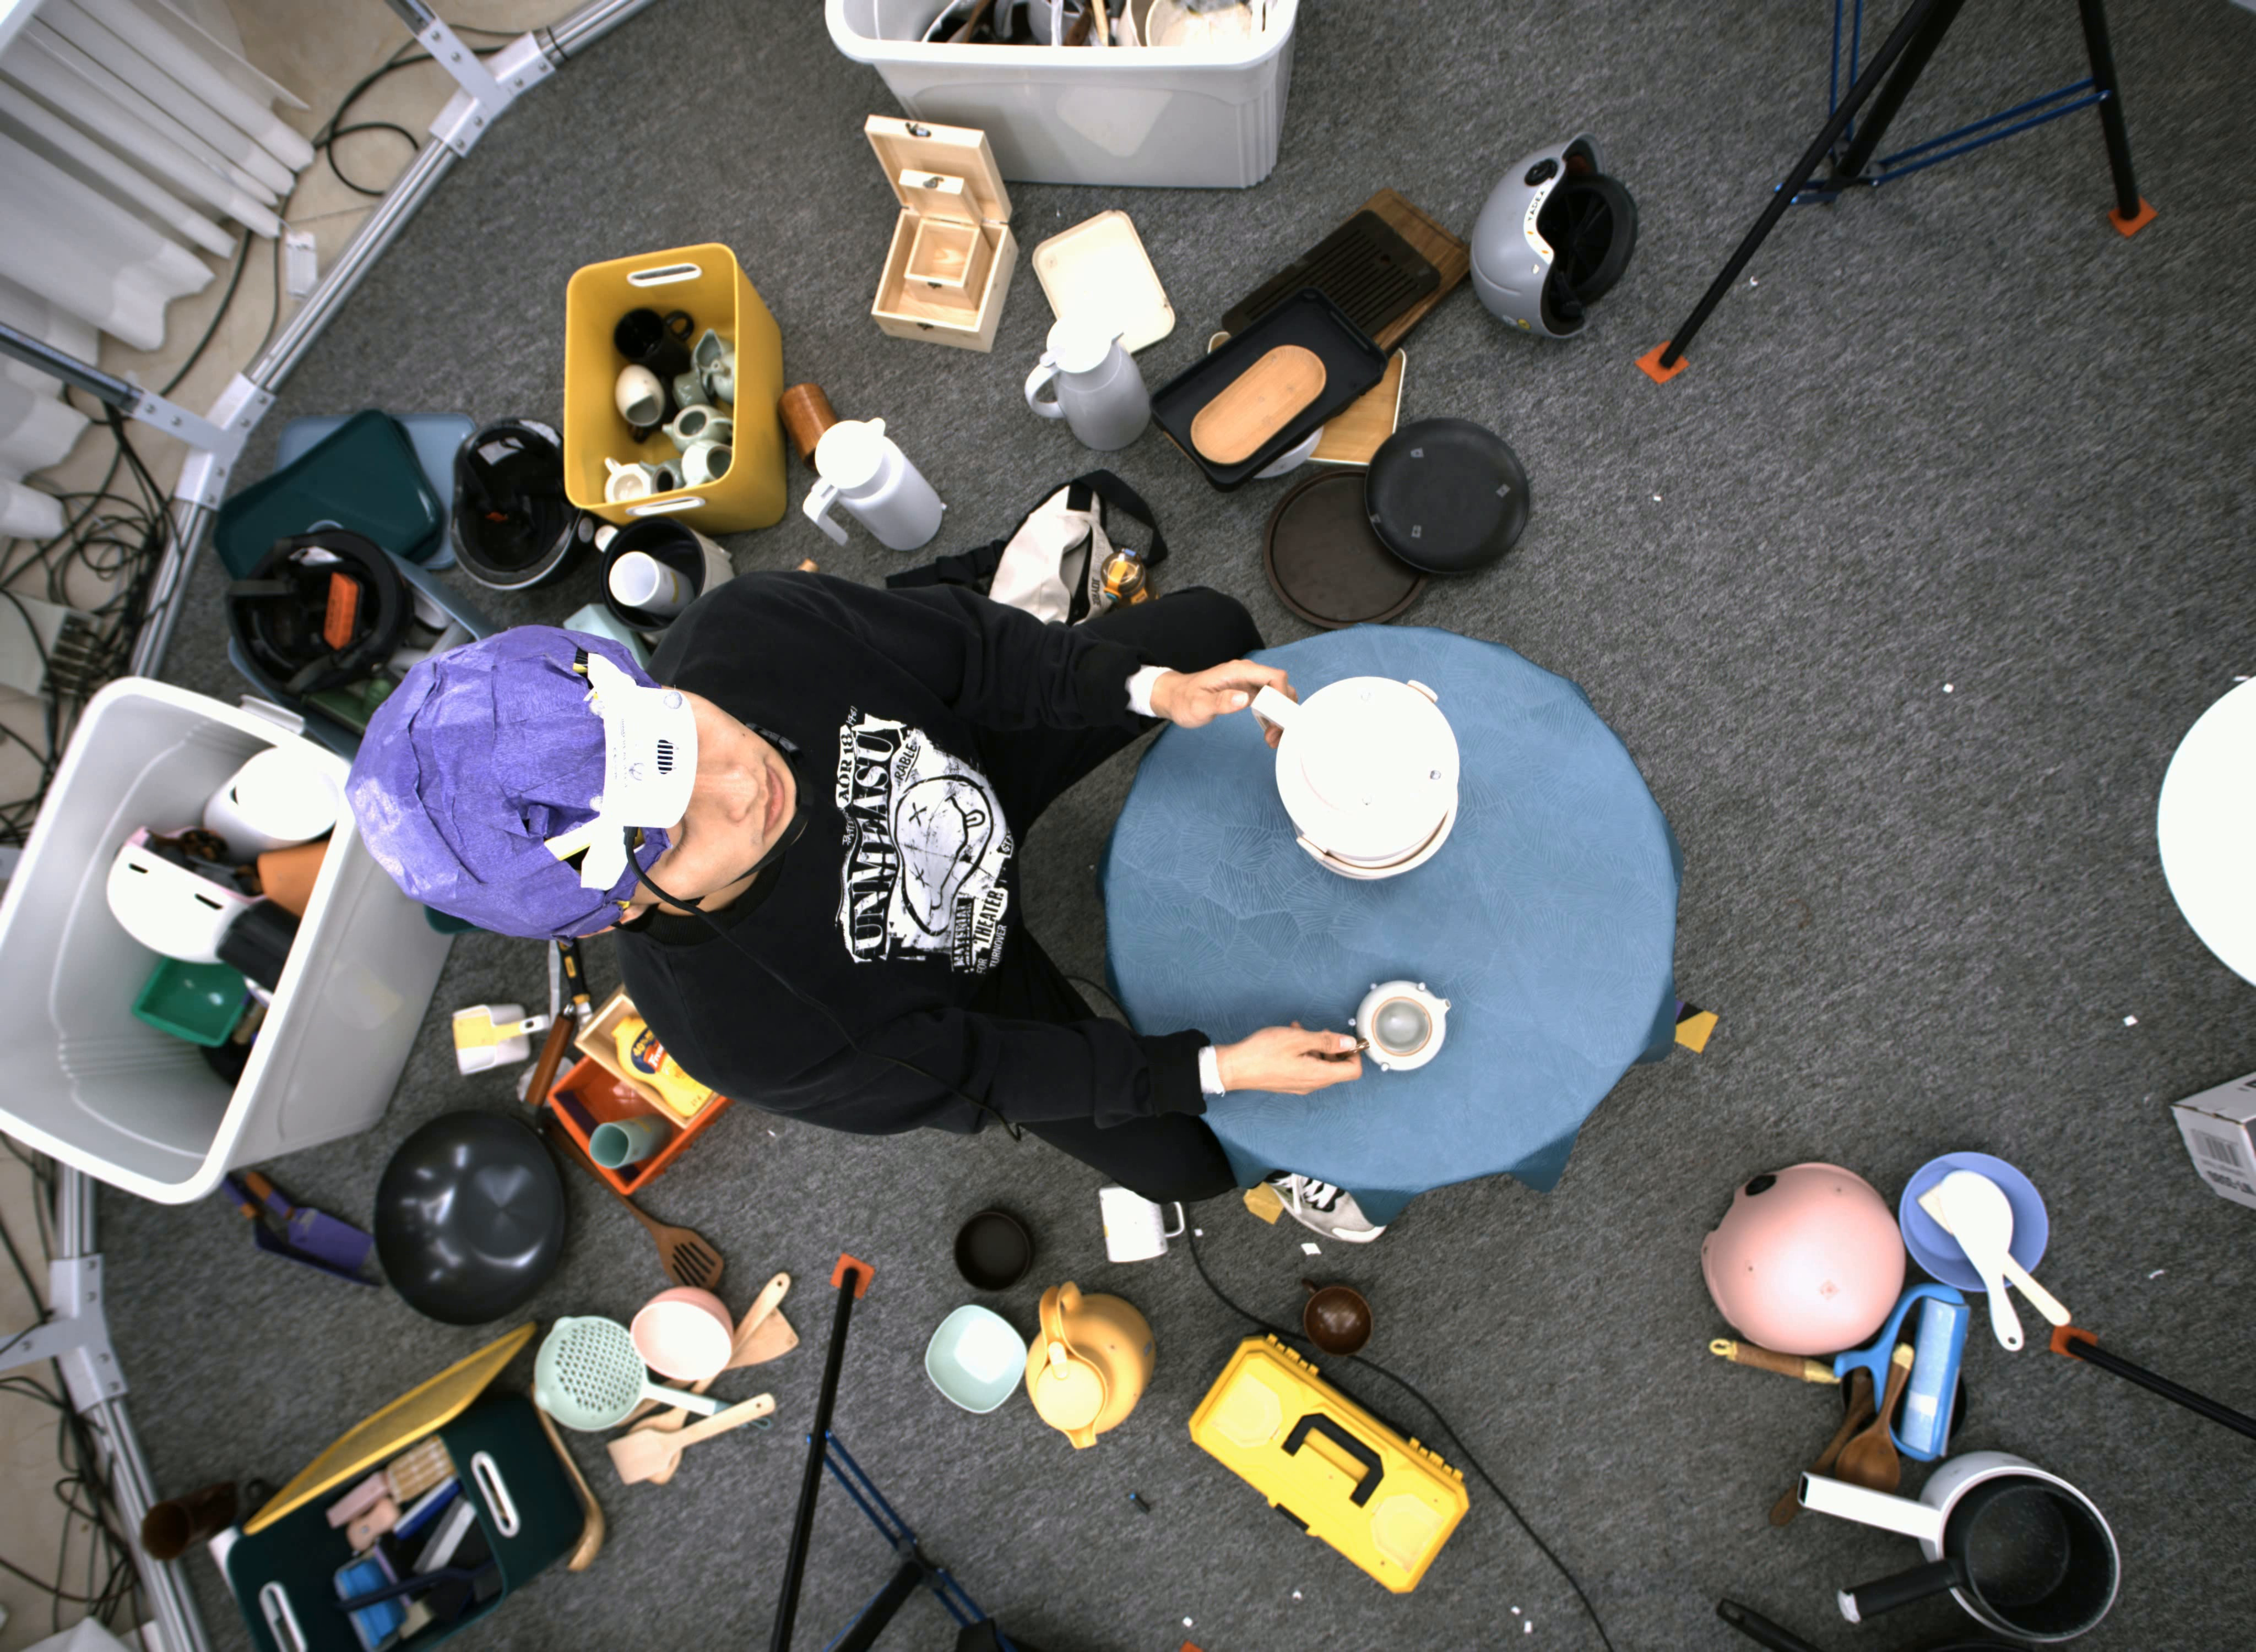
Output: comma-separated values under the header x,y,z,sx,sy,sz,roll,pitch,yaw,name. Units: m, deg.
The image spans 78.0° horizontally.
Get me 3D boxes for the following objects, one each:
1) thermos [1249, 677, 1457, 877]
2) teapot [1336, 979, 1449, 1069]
x,y,z,sx,sy,sz,roll,pitch,yaw,name
0.209,-0.052,1.278,0.206,0.406,0.176,35,93,11,thermos
0.272,0.207,1.425,0.128,0.059,0.091,-29,85,6,teapot
